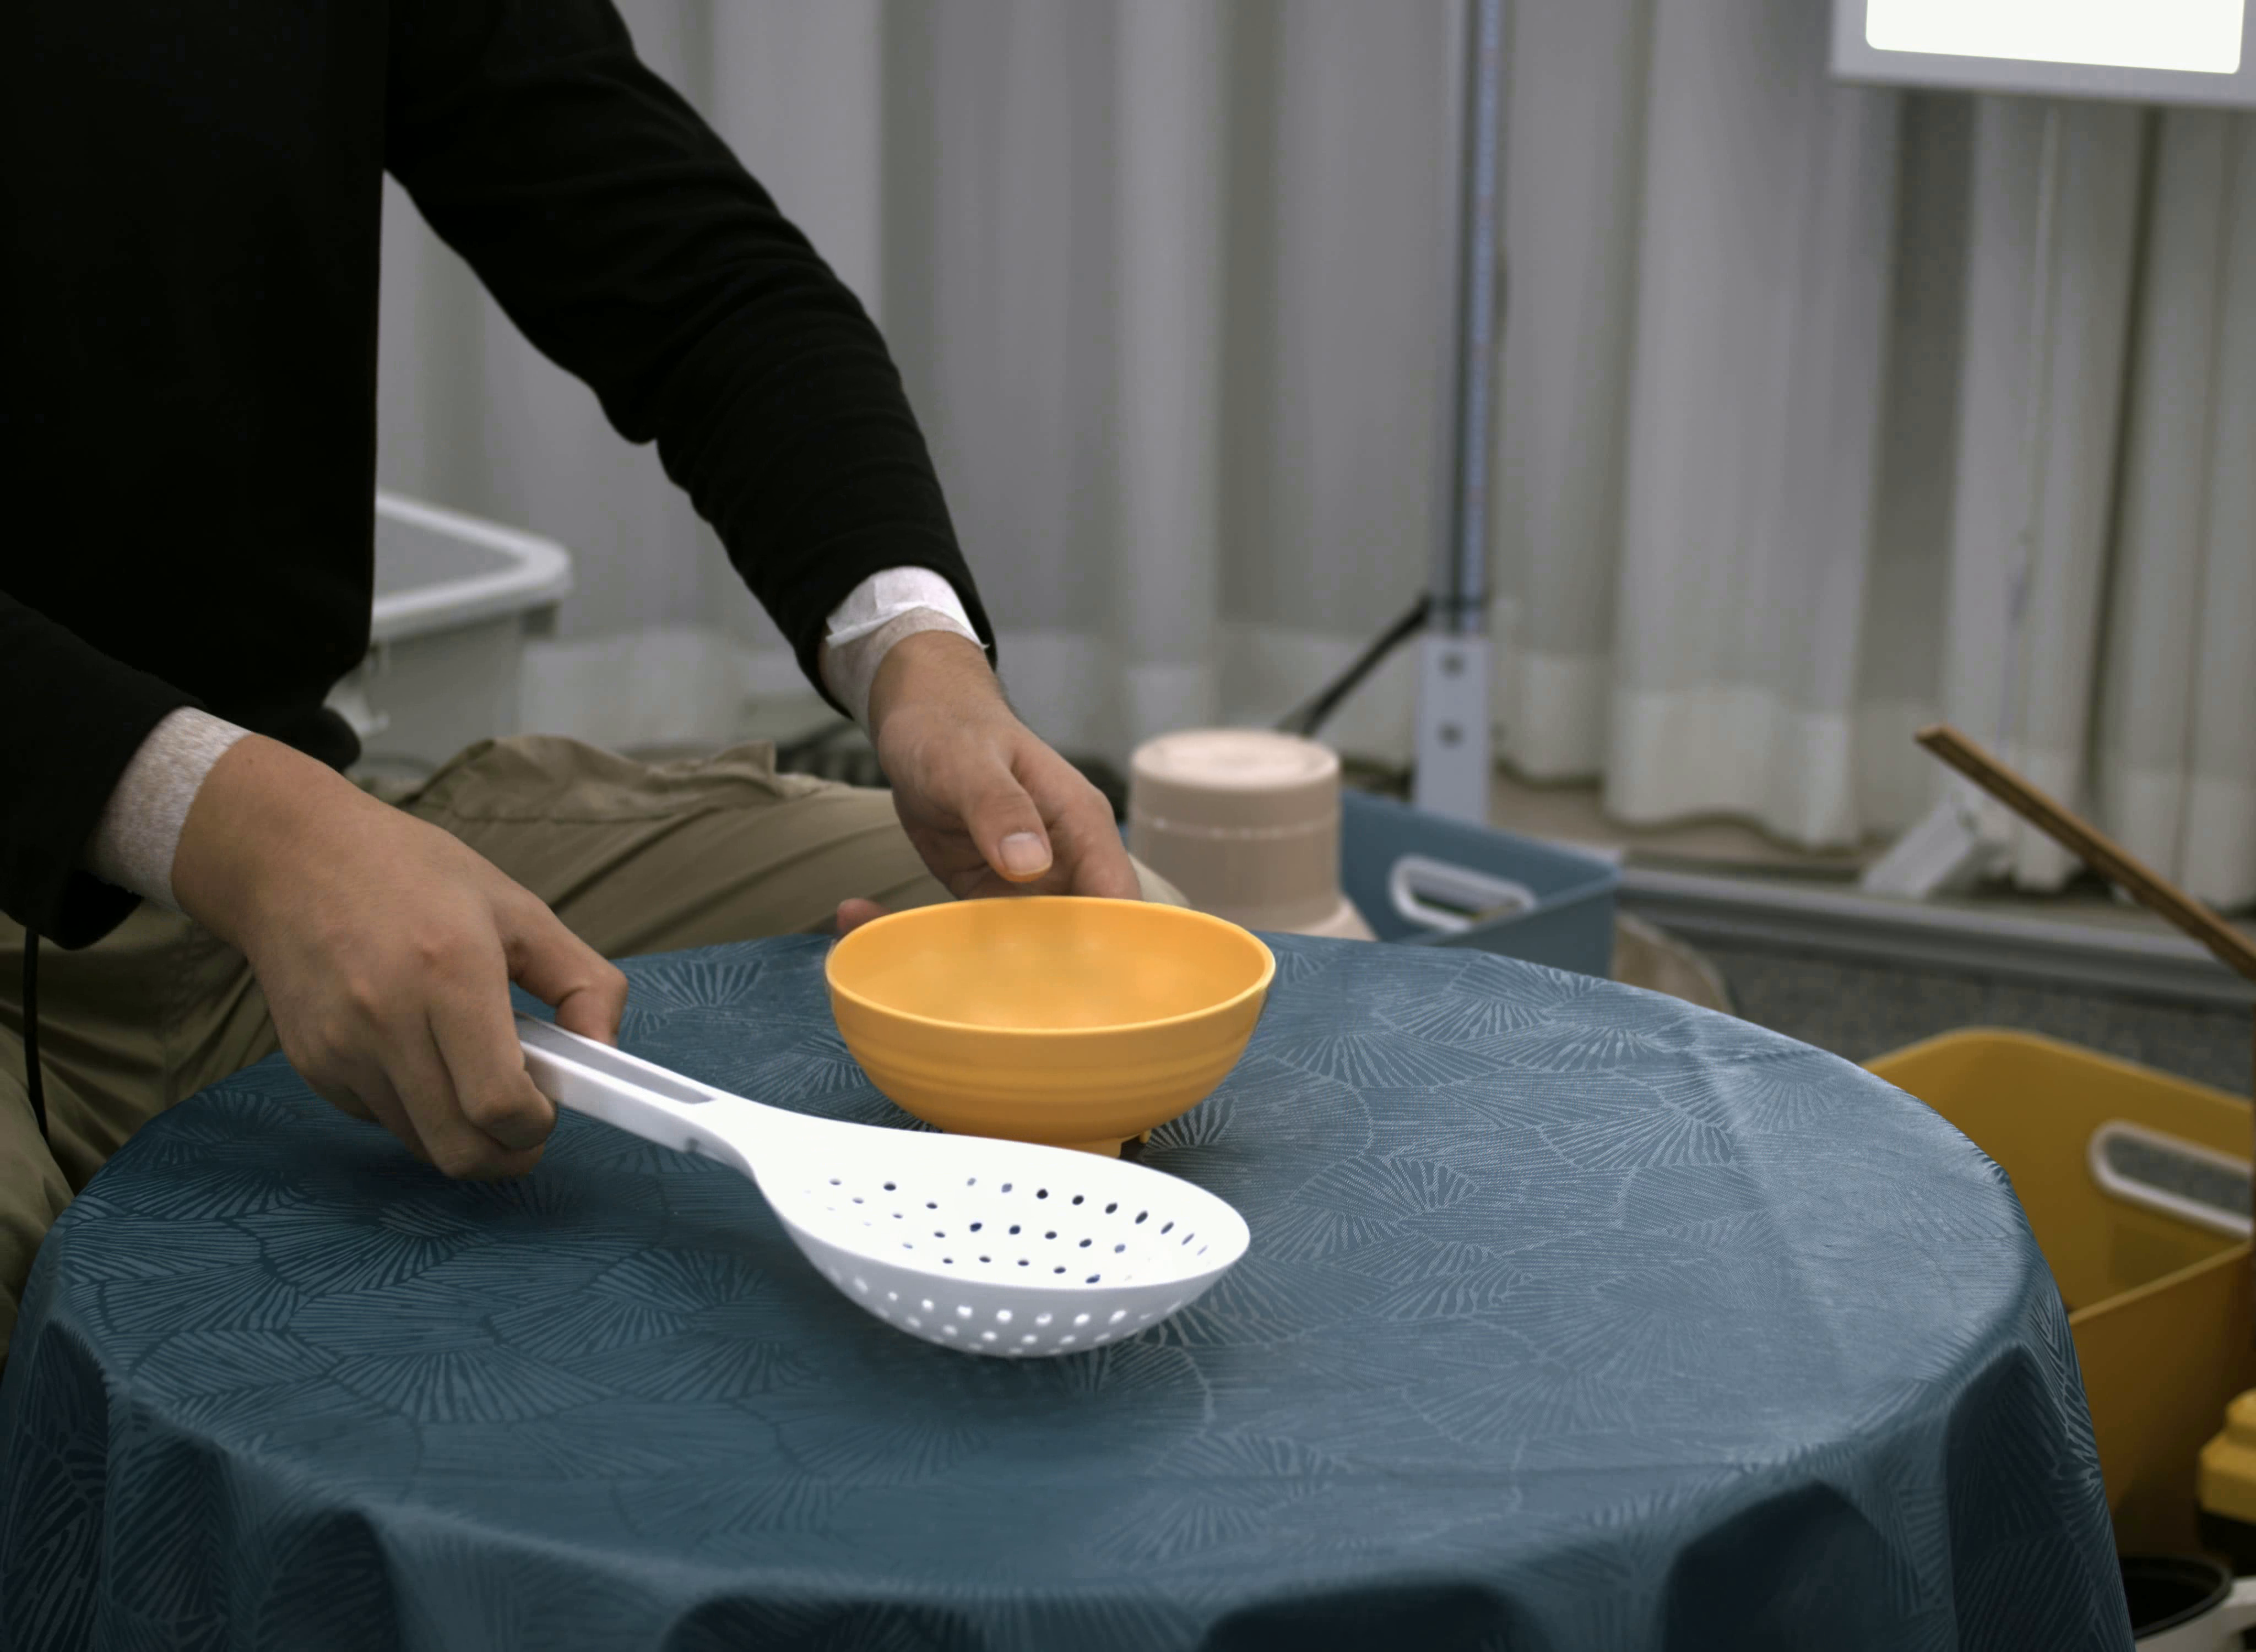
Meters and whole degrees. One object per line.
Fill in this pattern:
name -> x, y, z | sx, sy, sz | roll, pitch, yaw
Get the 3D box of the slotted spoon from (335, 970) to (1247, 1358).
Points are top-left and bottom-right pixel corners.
slotted spoon -> -0.114, 0.091, 1.551 | 0.345, 0.046, 0.137 | 22, 21, 37

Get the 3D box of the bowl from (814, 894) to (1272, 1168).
bowl -> -0.028, 0.071, 1.665 | 0.145, 0.060, 0.144 | 3, 16, 0
